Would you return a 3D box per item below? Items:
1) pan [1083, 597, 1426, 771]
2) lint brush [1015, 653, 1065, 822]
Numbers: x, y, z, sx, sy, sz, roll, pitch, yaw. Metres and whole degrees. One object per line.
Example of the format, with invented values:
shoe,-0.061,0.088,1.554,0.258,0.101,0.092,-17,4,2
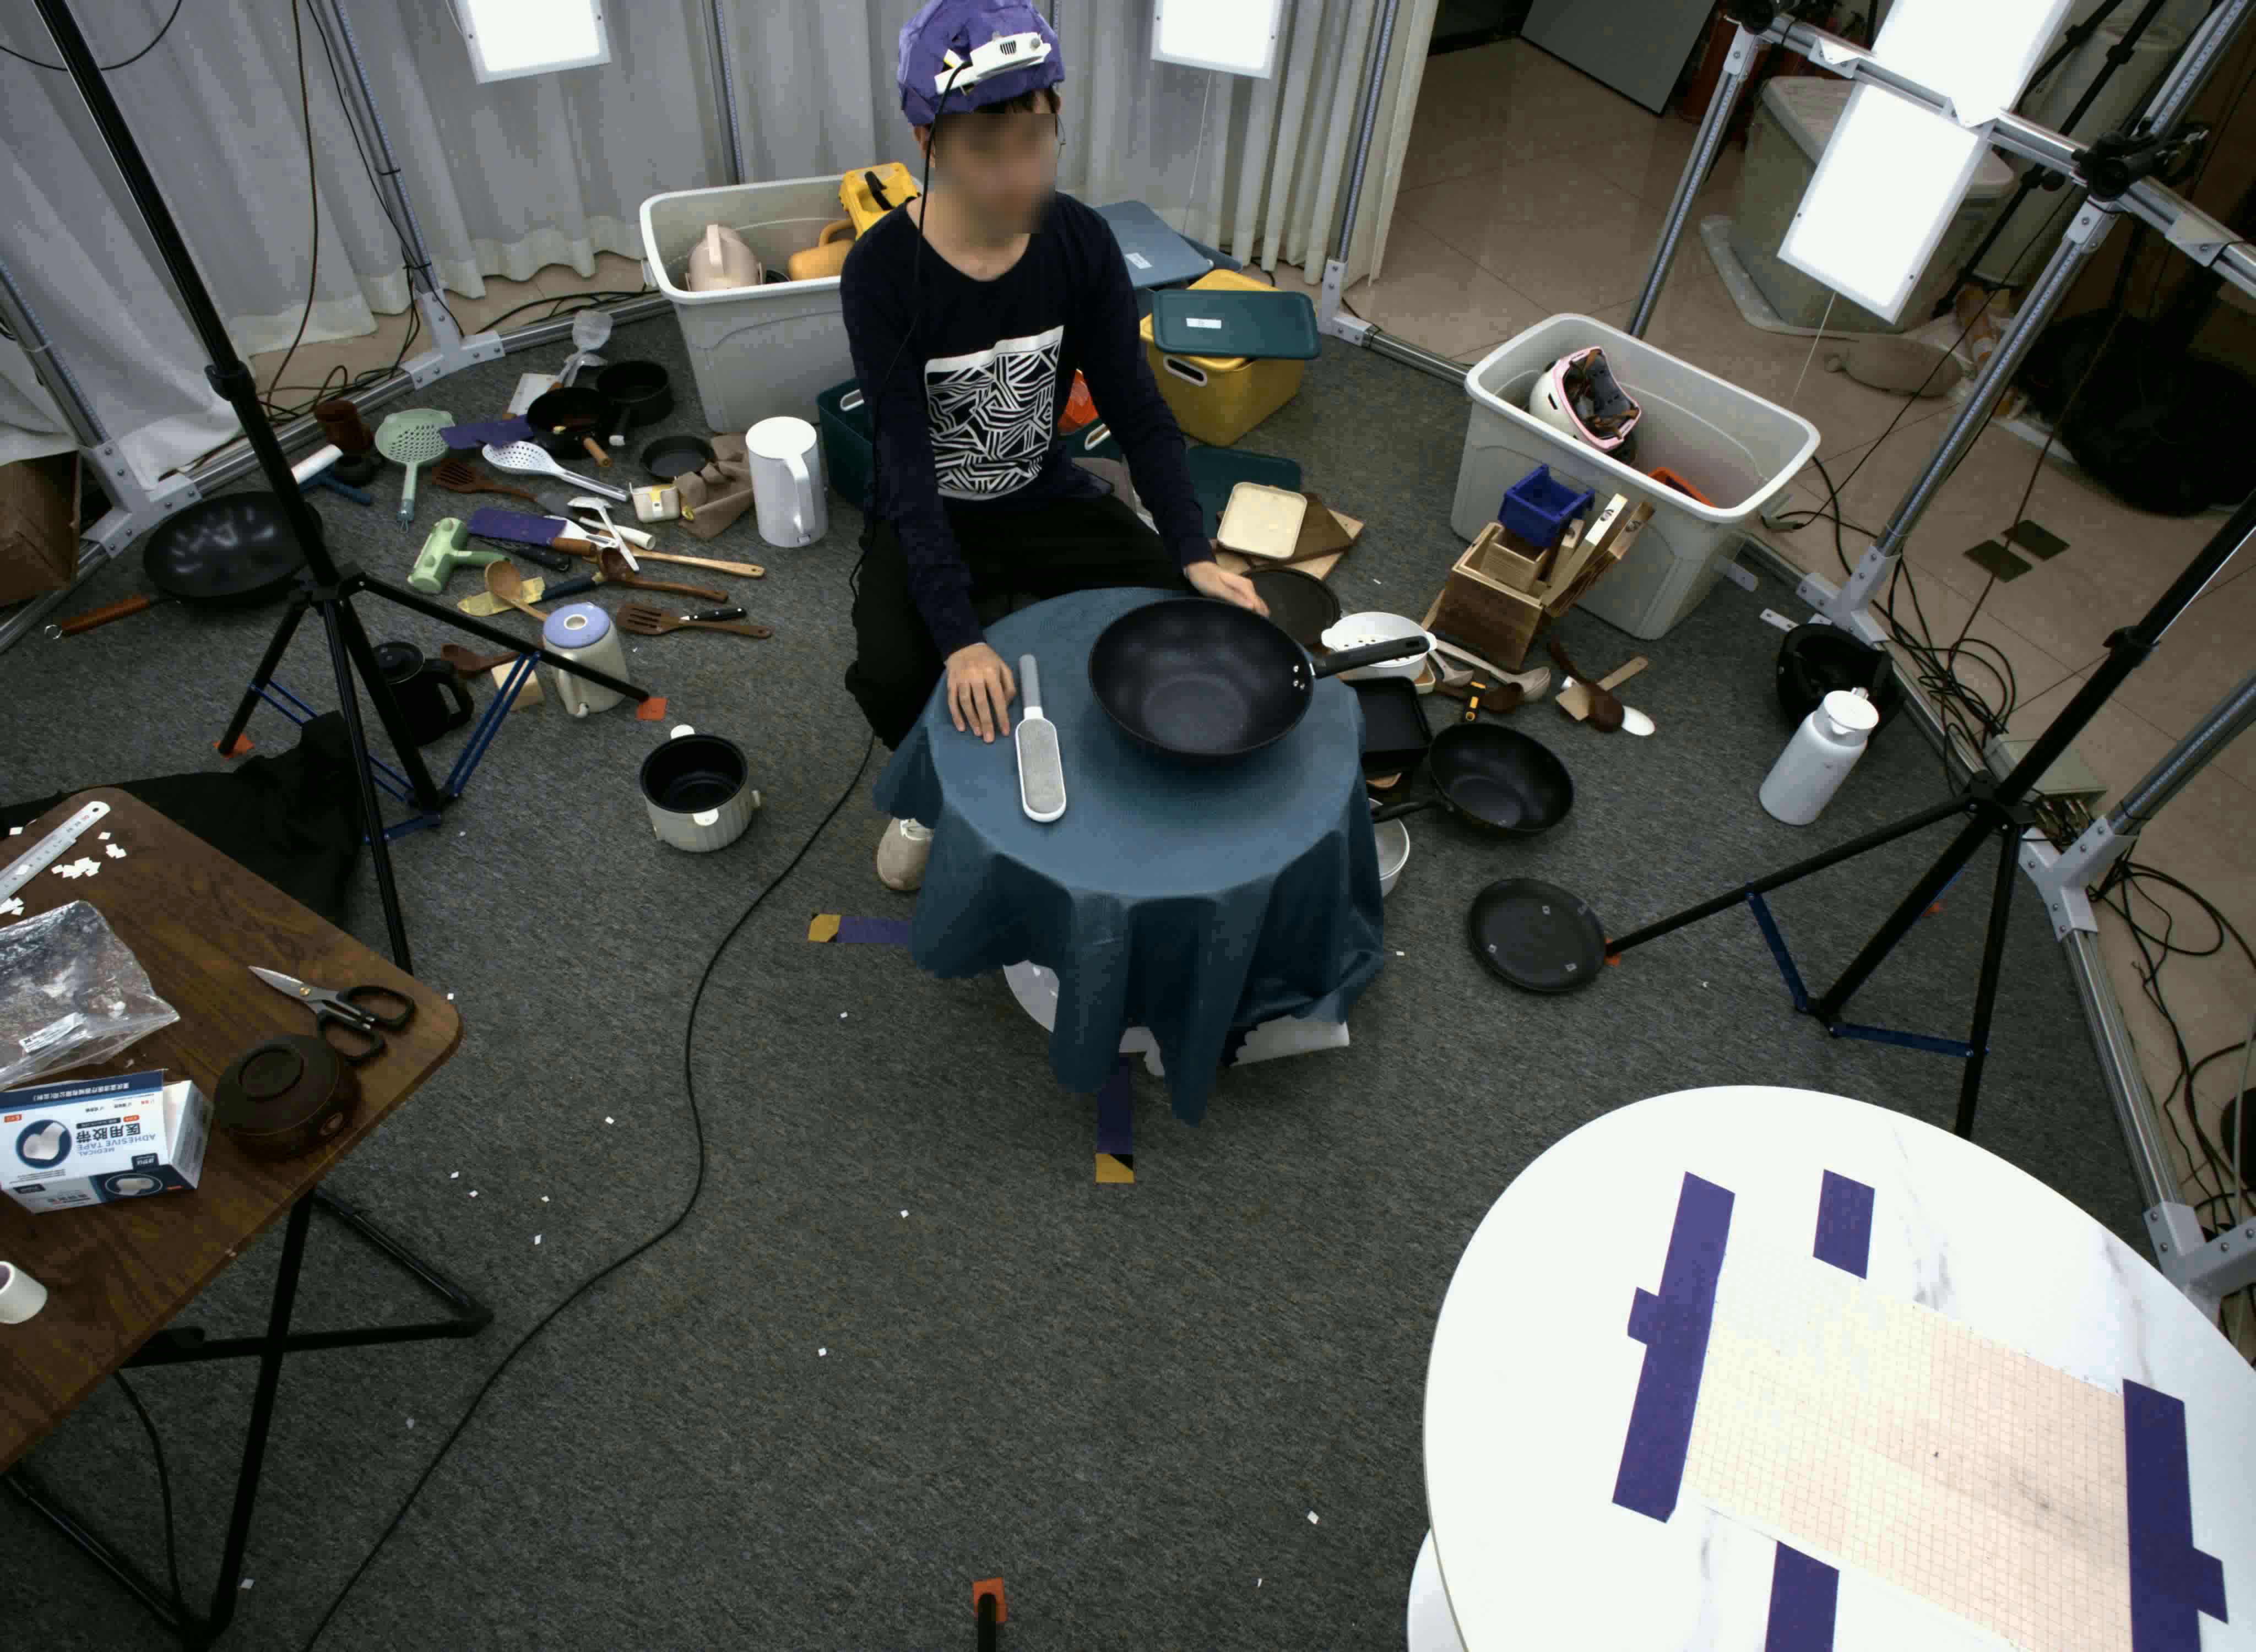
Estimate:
pan,0.174,-0.198,1.781,0.476,0.109,0.318,-5,51,-8
lint brush,-0.125,-0.127,1.752,0.060,0.020,0.317,-7,50,-2
